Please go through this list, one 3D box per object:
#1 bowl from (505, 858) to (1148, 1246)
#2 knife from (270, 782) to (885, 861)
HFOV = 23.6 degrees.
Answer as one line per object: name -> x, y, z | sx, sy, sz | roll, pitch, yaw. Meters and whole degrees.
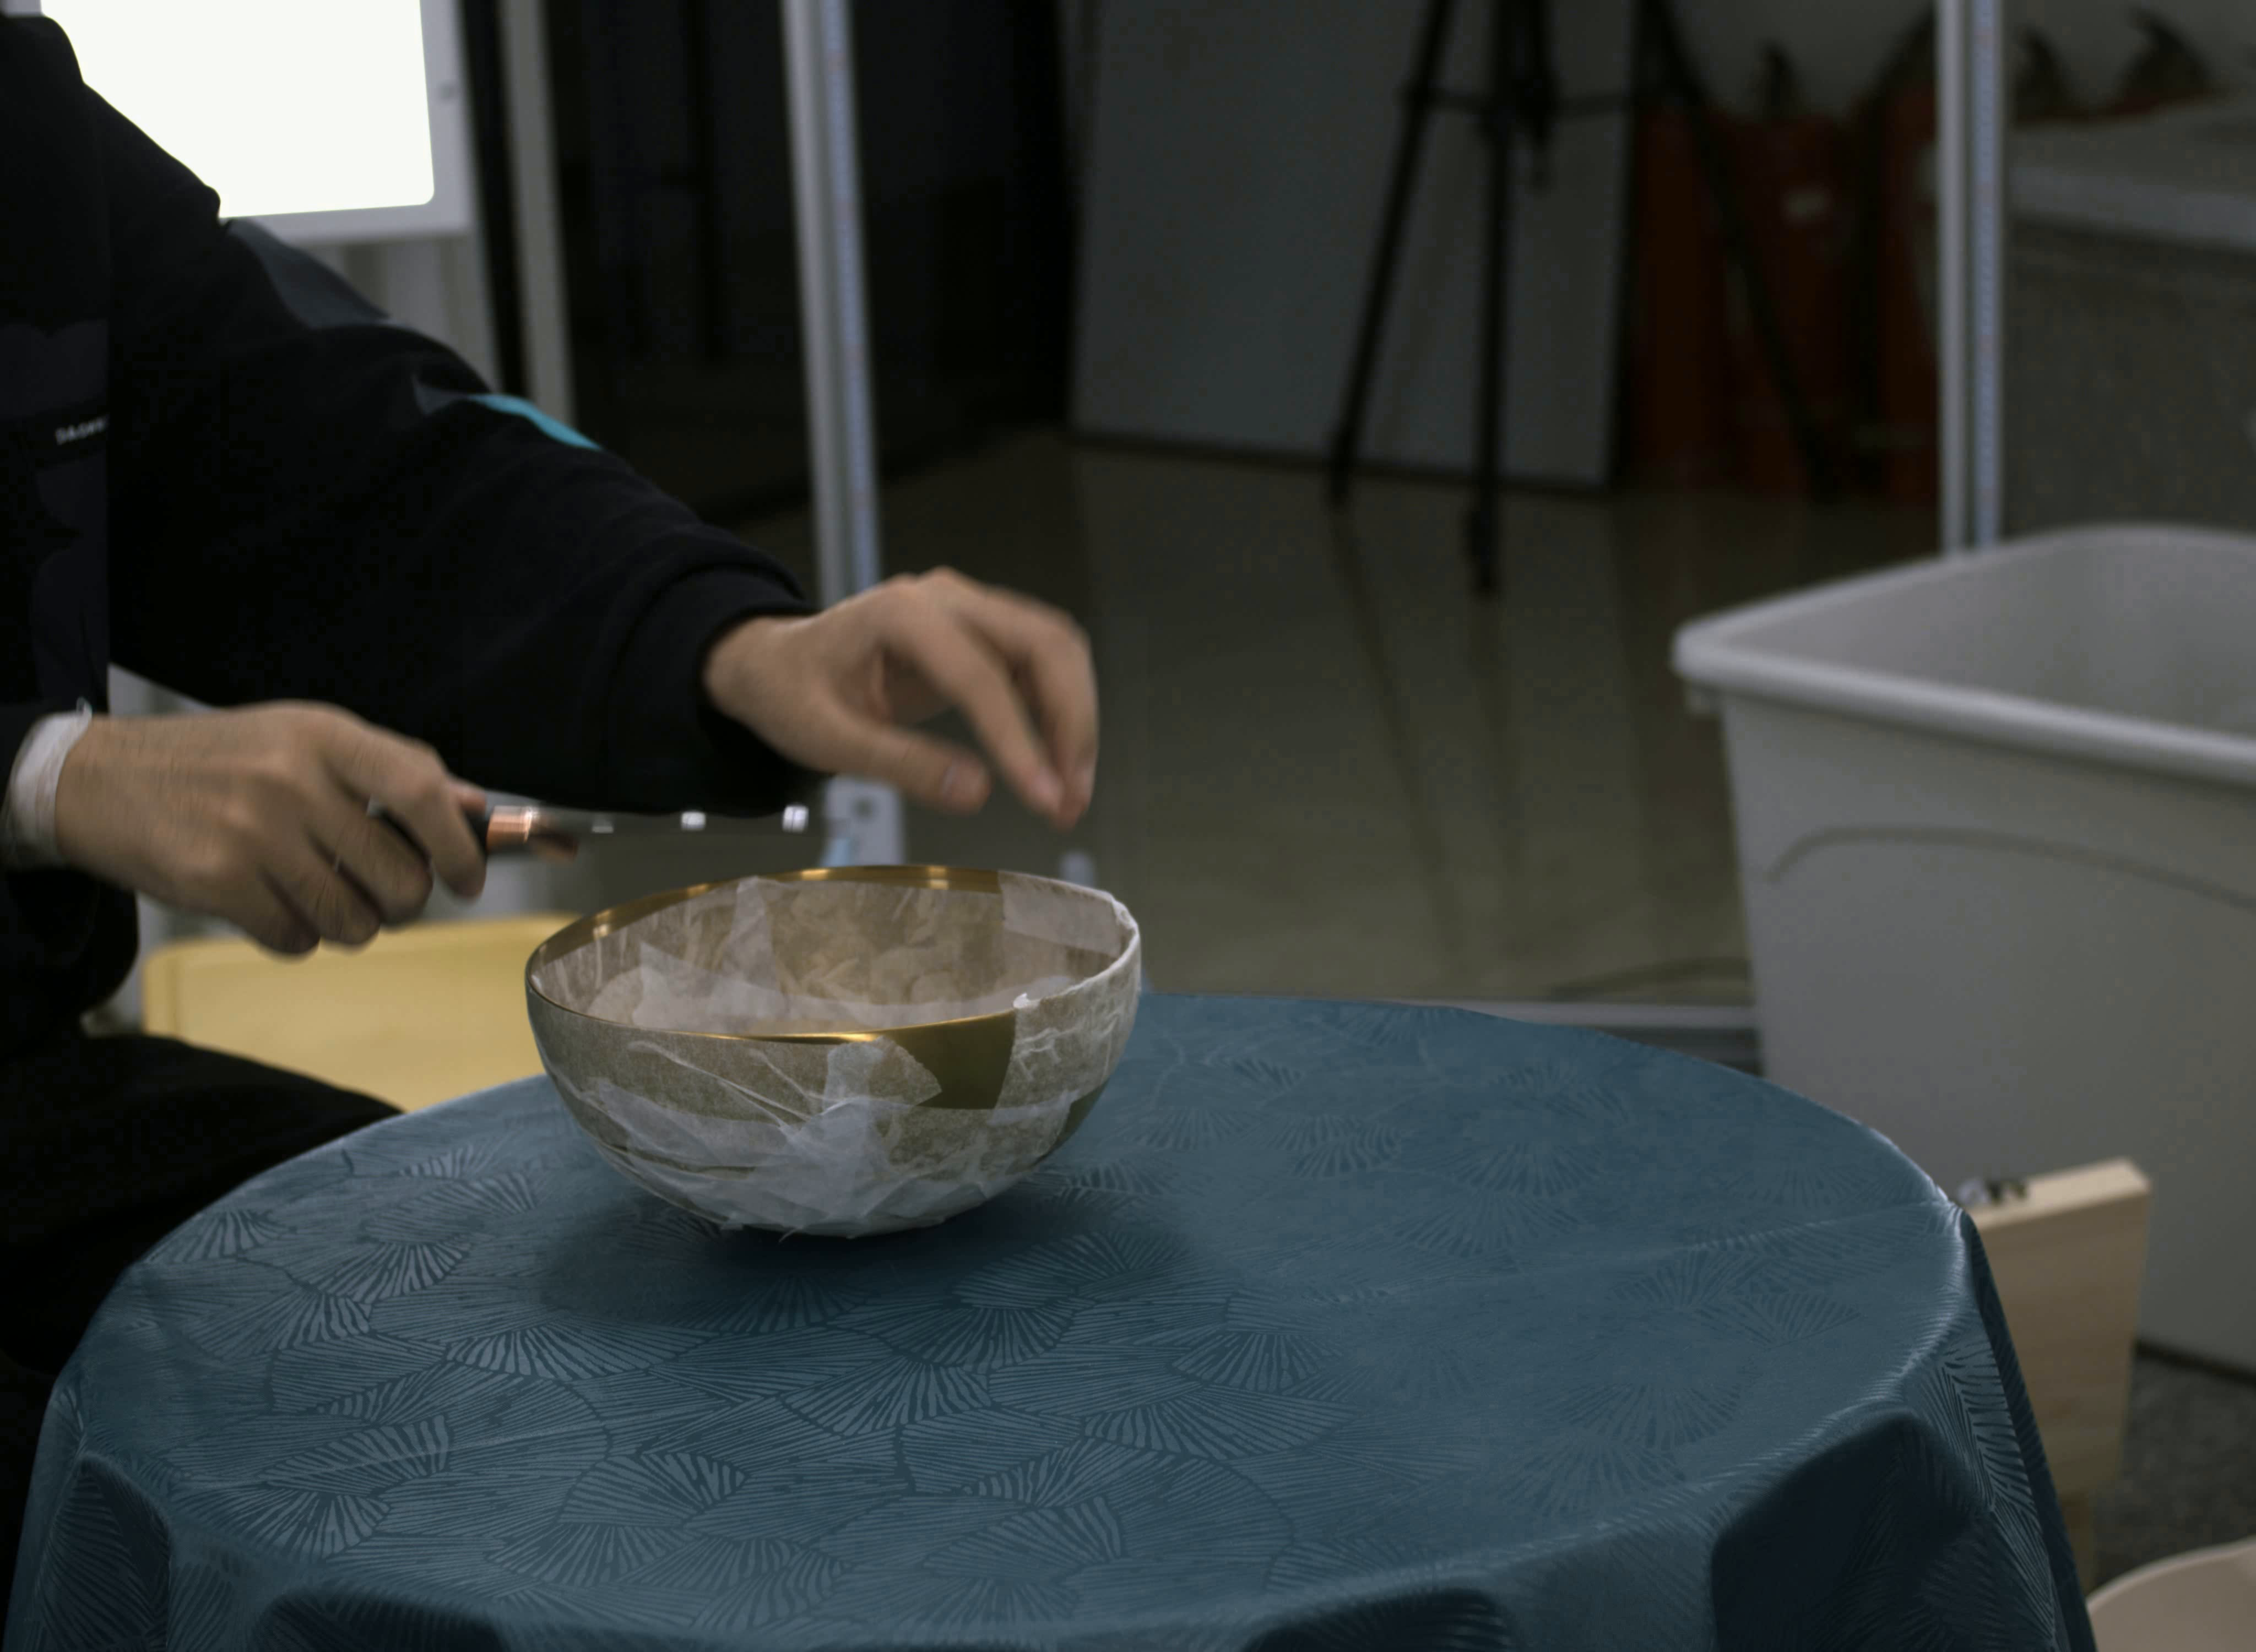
bowl -> -0.096, 0.081, 1.762 | 0.212, 0.095, 0.215 | -4, 15, 0
knife -> -0.170, -0.004, 1.645 | 0.226, 0.017, 0.026 | -5, -11, 32
